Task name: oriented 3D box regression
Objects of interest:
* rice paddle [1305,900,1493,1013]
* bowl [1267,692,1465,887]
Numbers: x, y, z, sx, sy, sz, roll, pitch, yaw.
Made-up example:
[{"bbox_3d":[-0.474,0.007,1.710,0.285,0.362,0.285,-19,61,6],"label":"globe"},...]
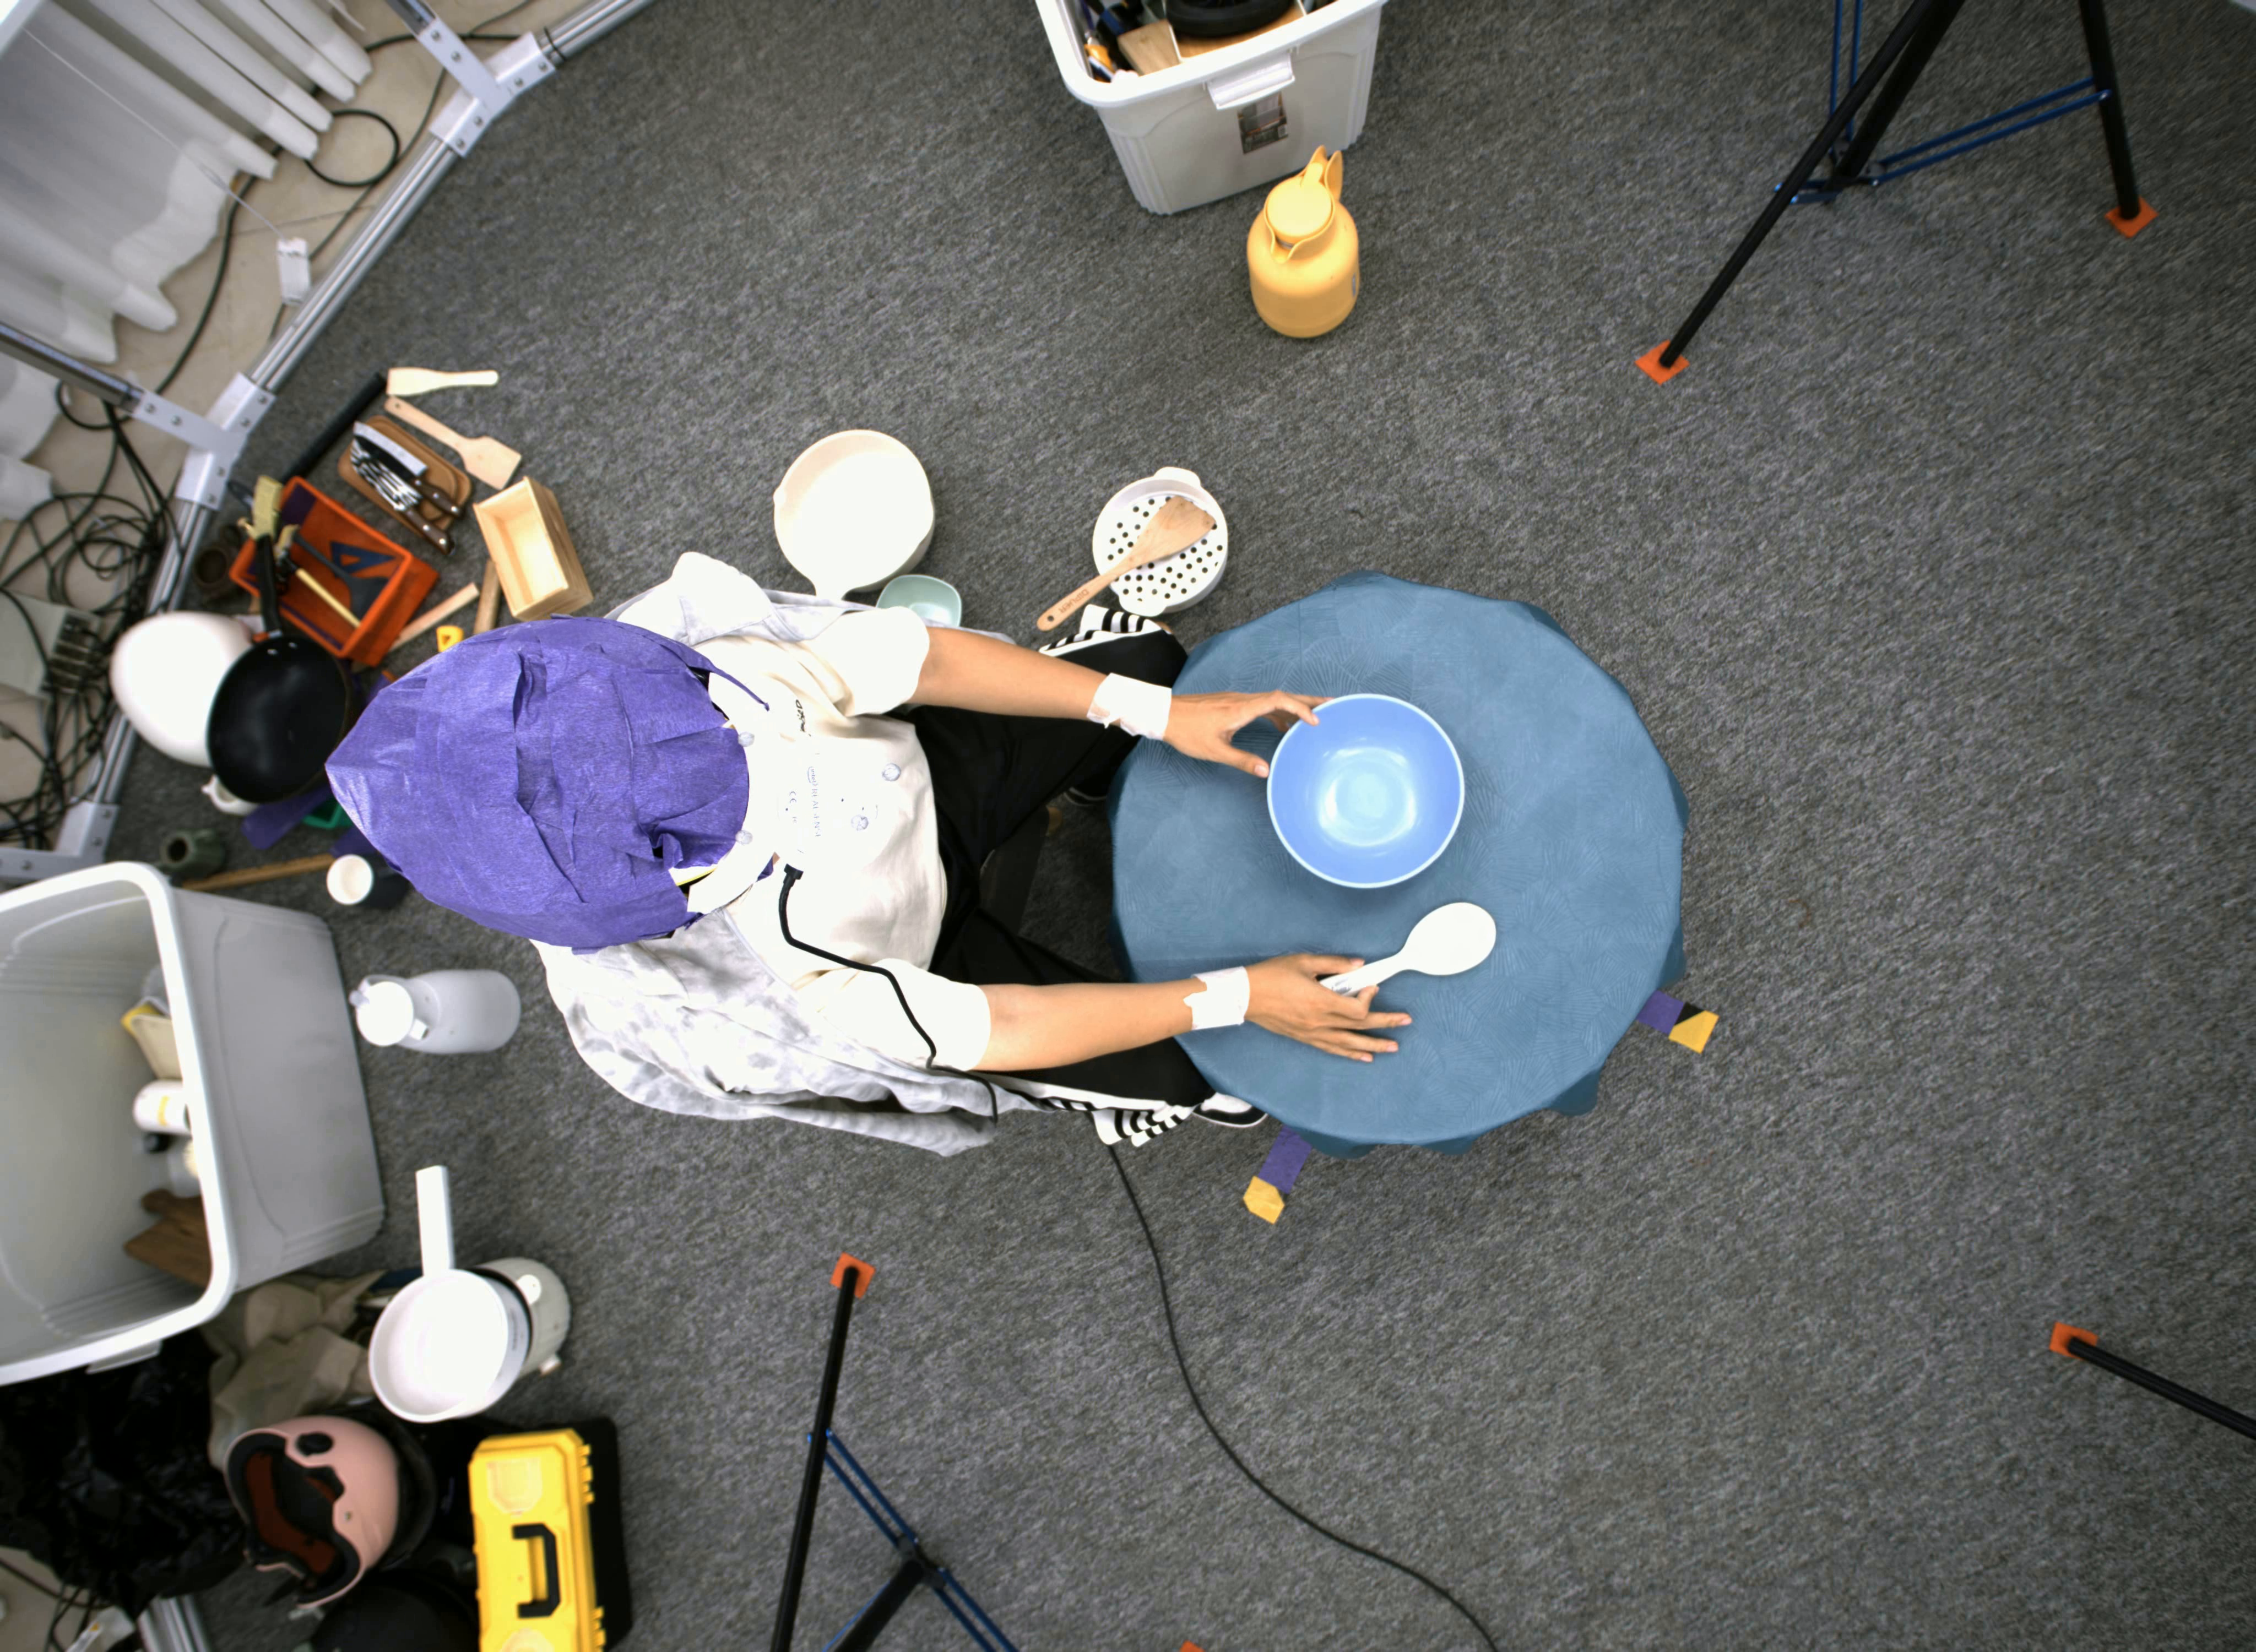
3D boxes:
[{"bbox_3d":[0.283,0.137,1.437,0.206,0.029,0.068,-26,80,8],"label":"rice paddle"},{"bbox_3d":[0.243,-0.034,1.420,0.197,0.095,0.195,-1,87,9],"label":"bowl"}]
